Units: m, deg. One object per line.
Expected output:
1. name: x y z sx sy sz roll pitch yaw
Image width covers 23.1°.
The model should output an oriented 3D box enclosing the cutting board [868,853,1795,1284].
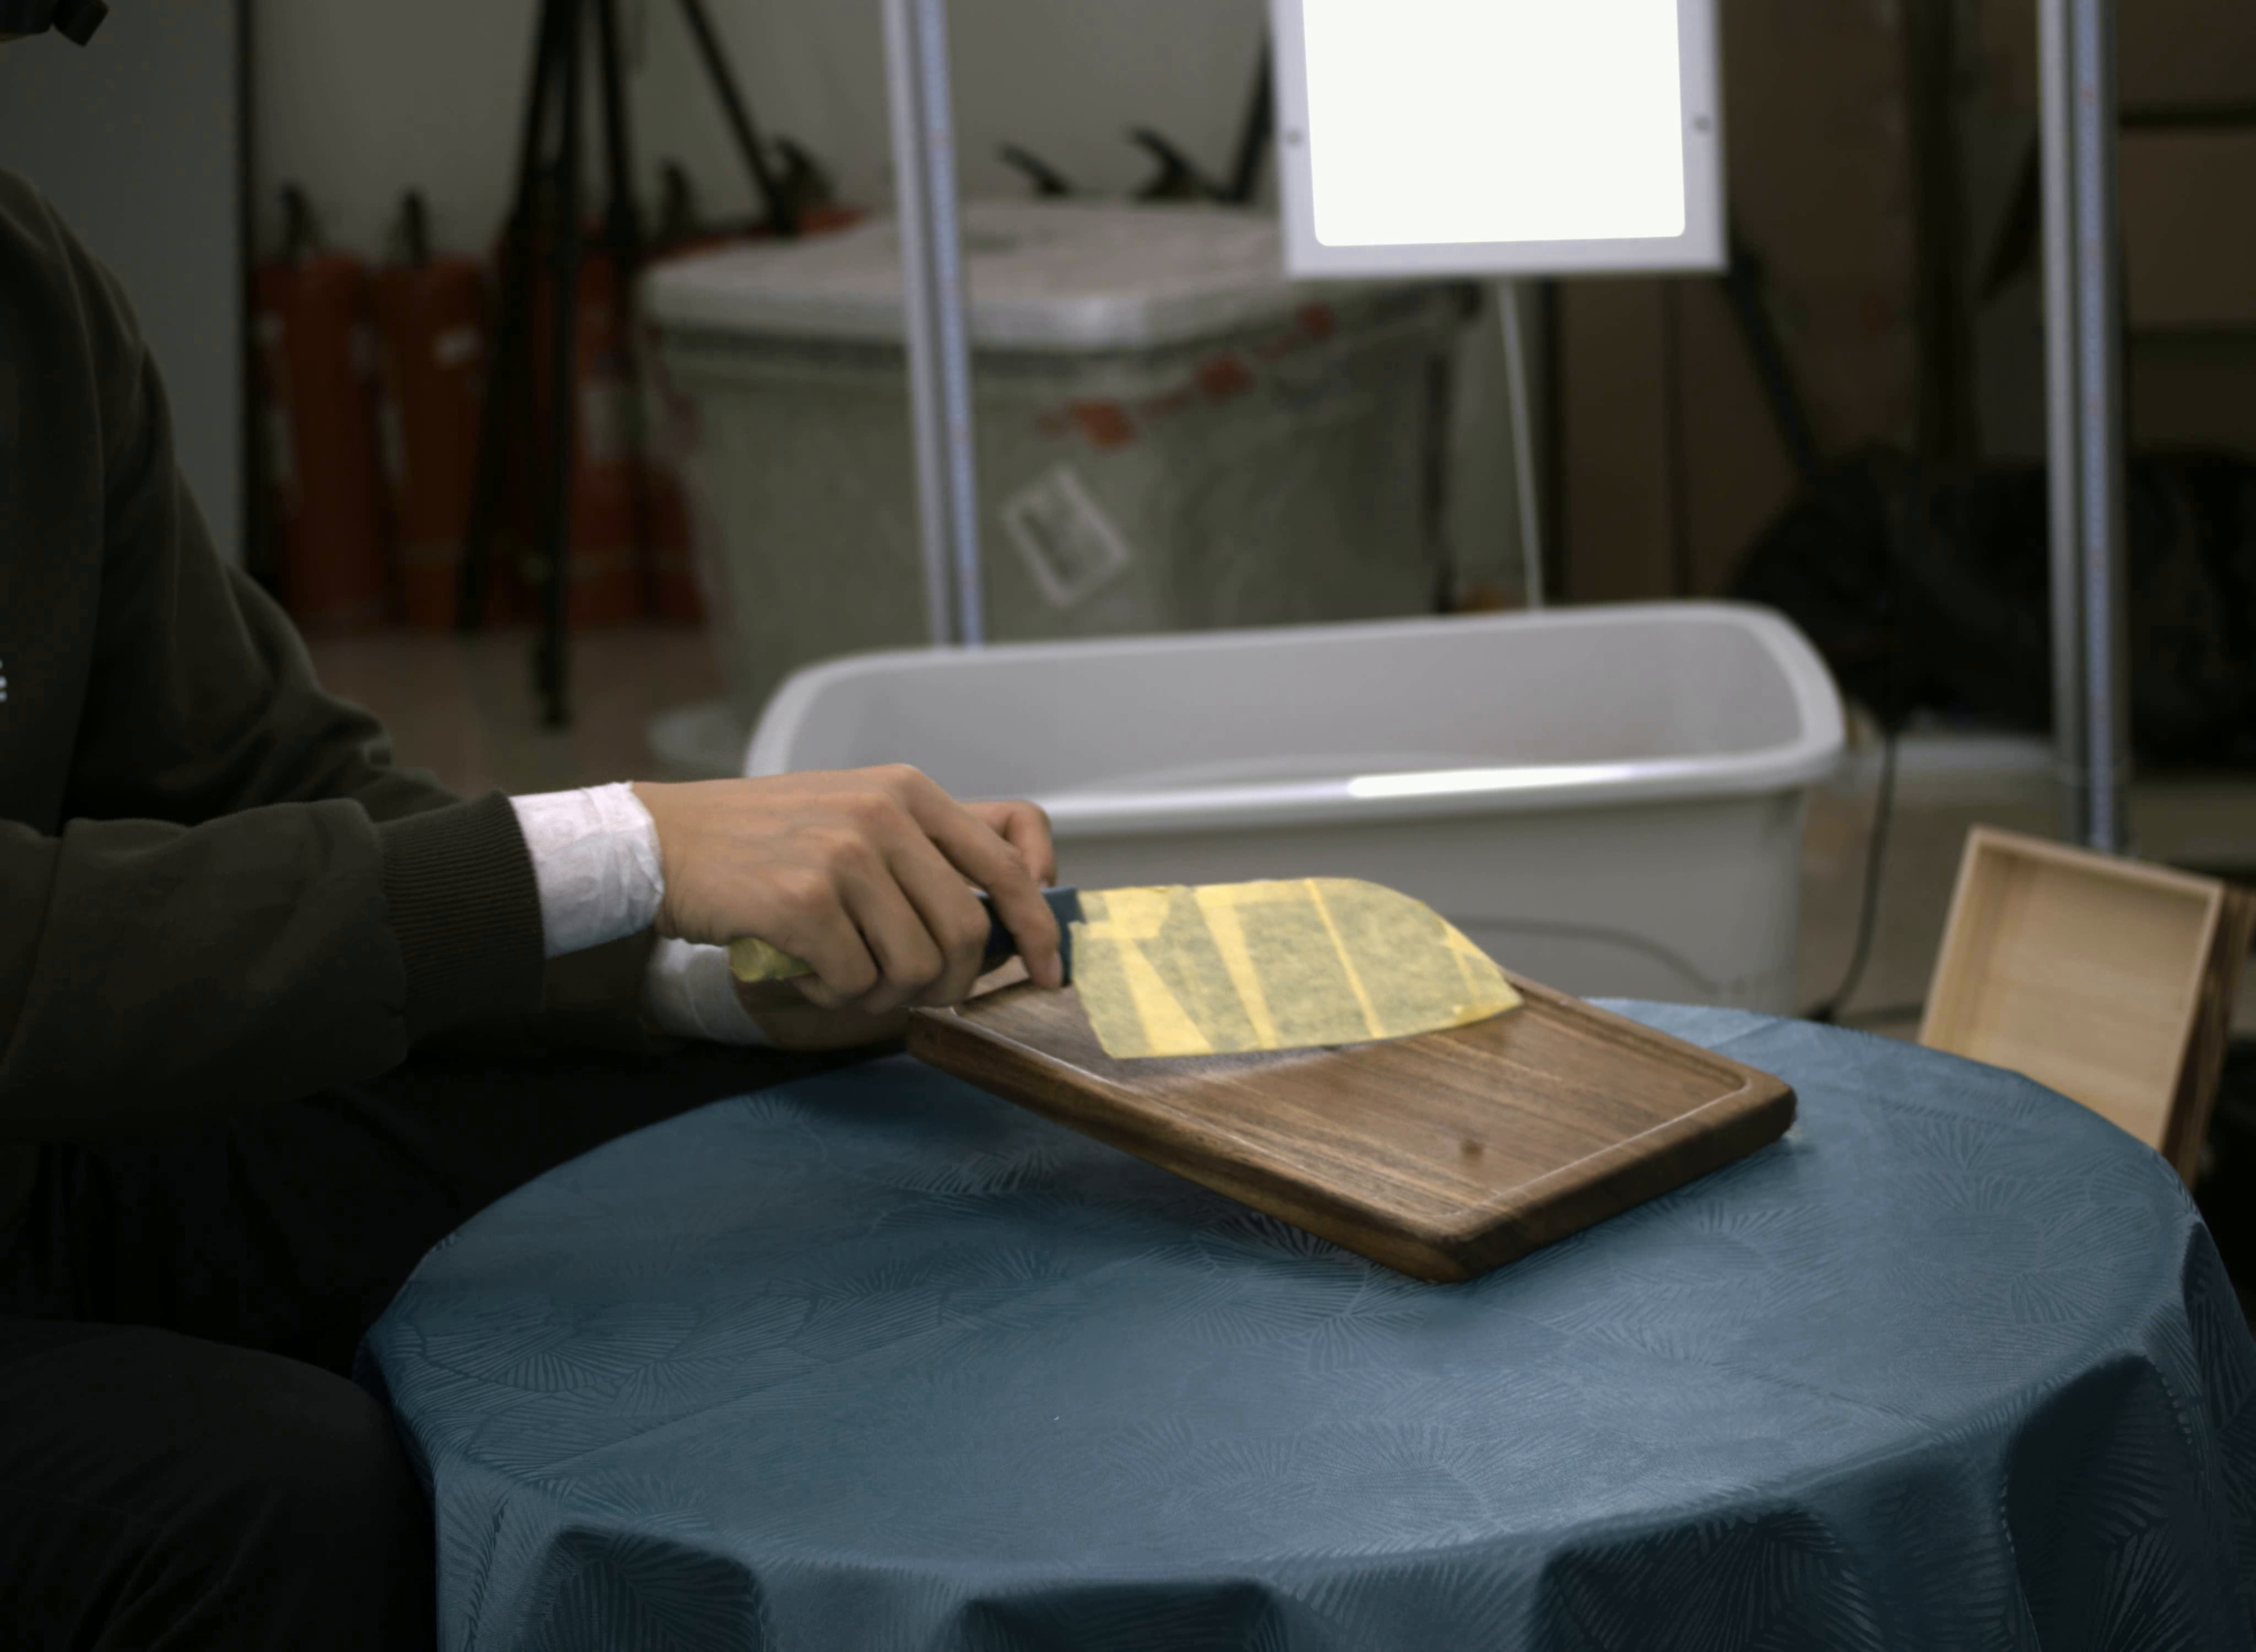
1. cutting board: 0.041 0.070 1.941 0.359 0.023 0.196 21 27 39

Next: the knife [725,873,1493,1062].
1. knife: -0.001 0.050 1.907 0.284 0.027 0.081 -2 49 -22
